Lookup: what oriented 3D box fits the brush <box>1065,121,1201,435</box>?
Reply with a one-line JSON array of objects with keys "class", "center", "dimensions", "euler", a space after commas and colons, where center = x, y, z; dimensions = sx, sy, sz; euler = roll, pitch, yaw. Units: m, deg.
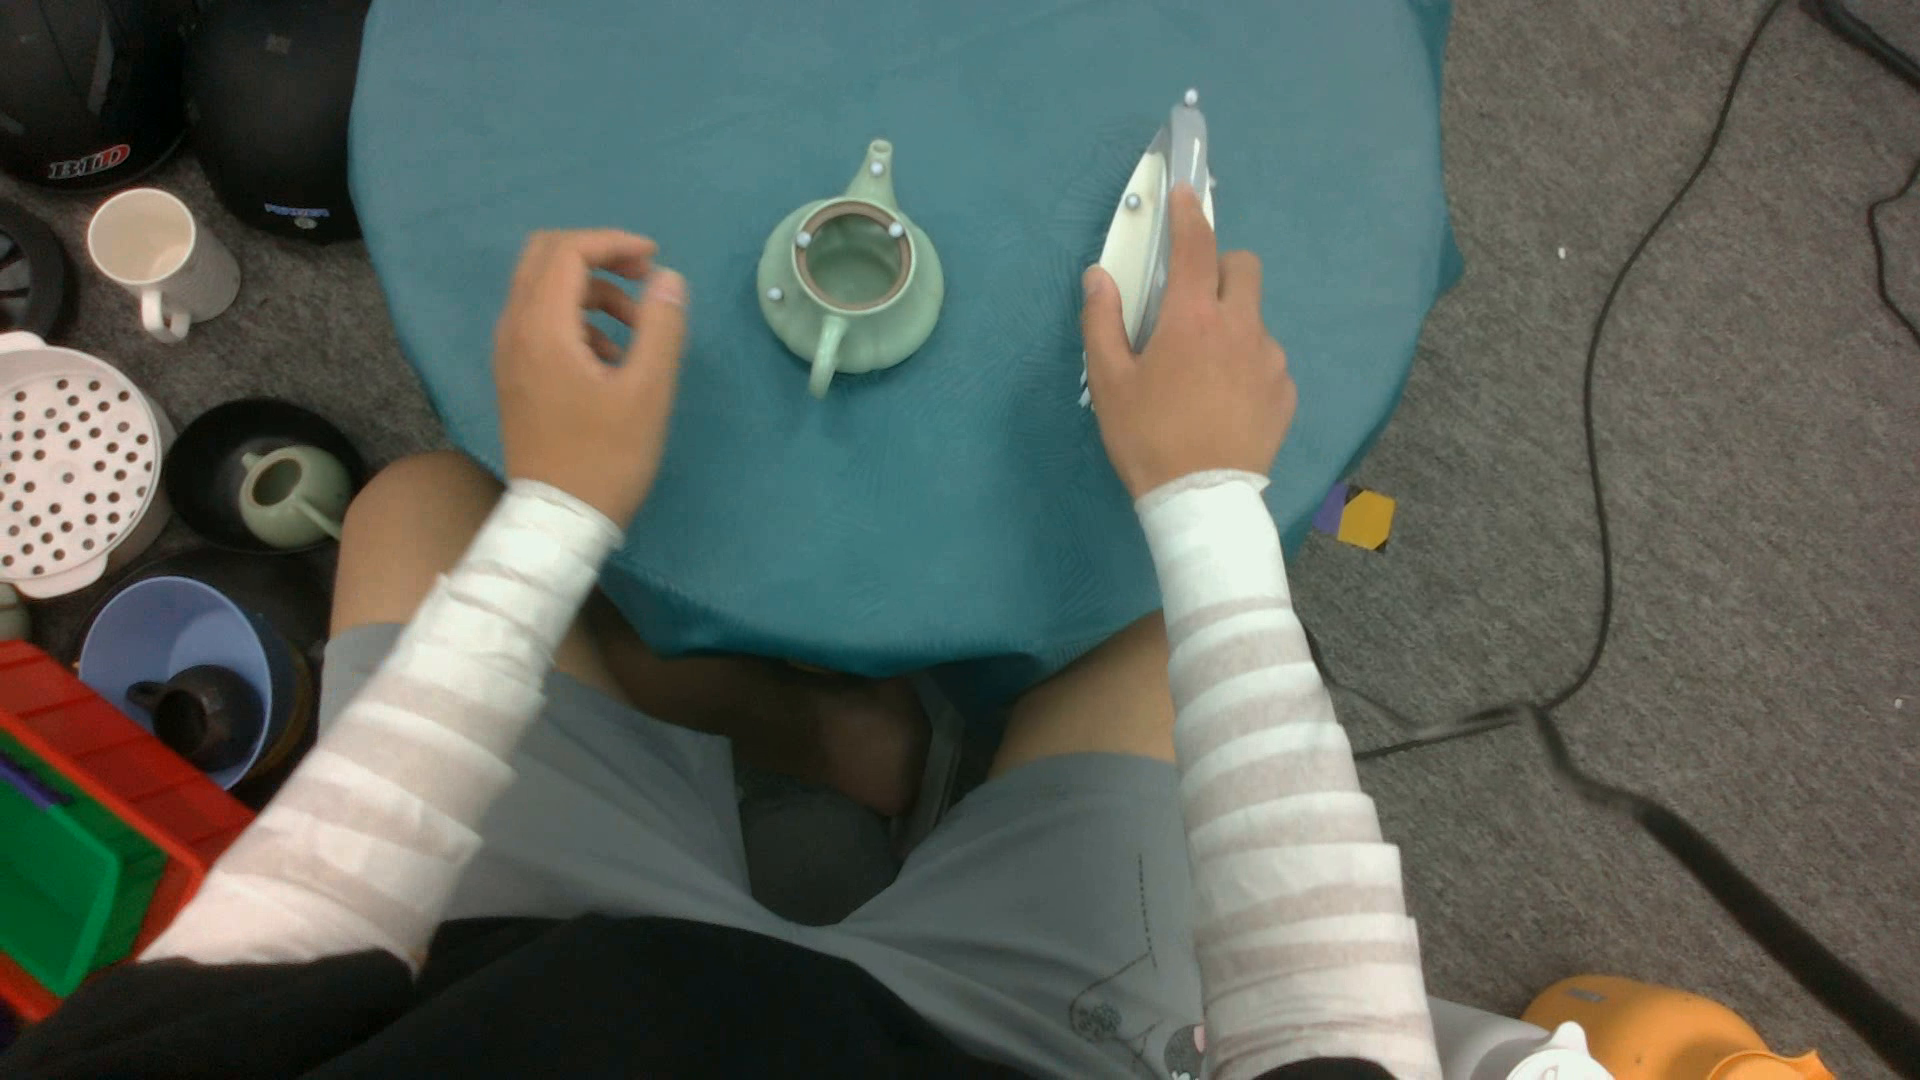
[{"class": "brush", "center": [0.100, -0.151, 0.726], "dimensions": [0.061, 0.094, 0.176], "euler": [12, 74, -6]}]

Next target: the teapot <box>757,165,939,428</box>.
[{"class": "teapot", "center": [-0.058, -0.121, 0.718], "dimensions": [0.096, 0.061, 0.137], "euler": [11, 76, -6]}]
